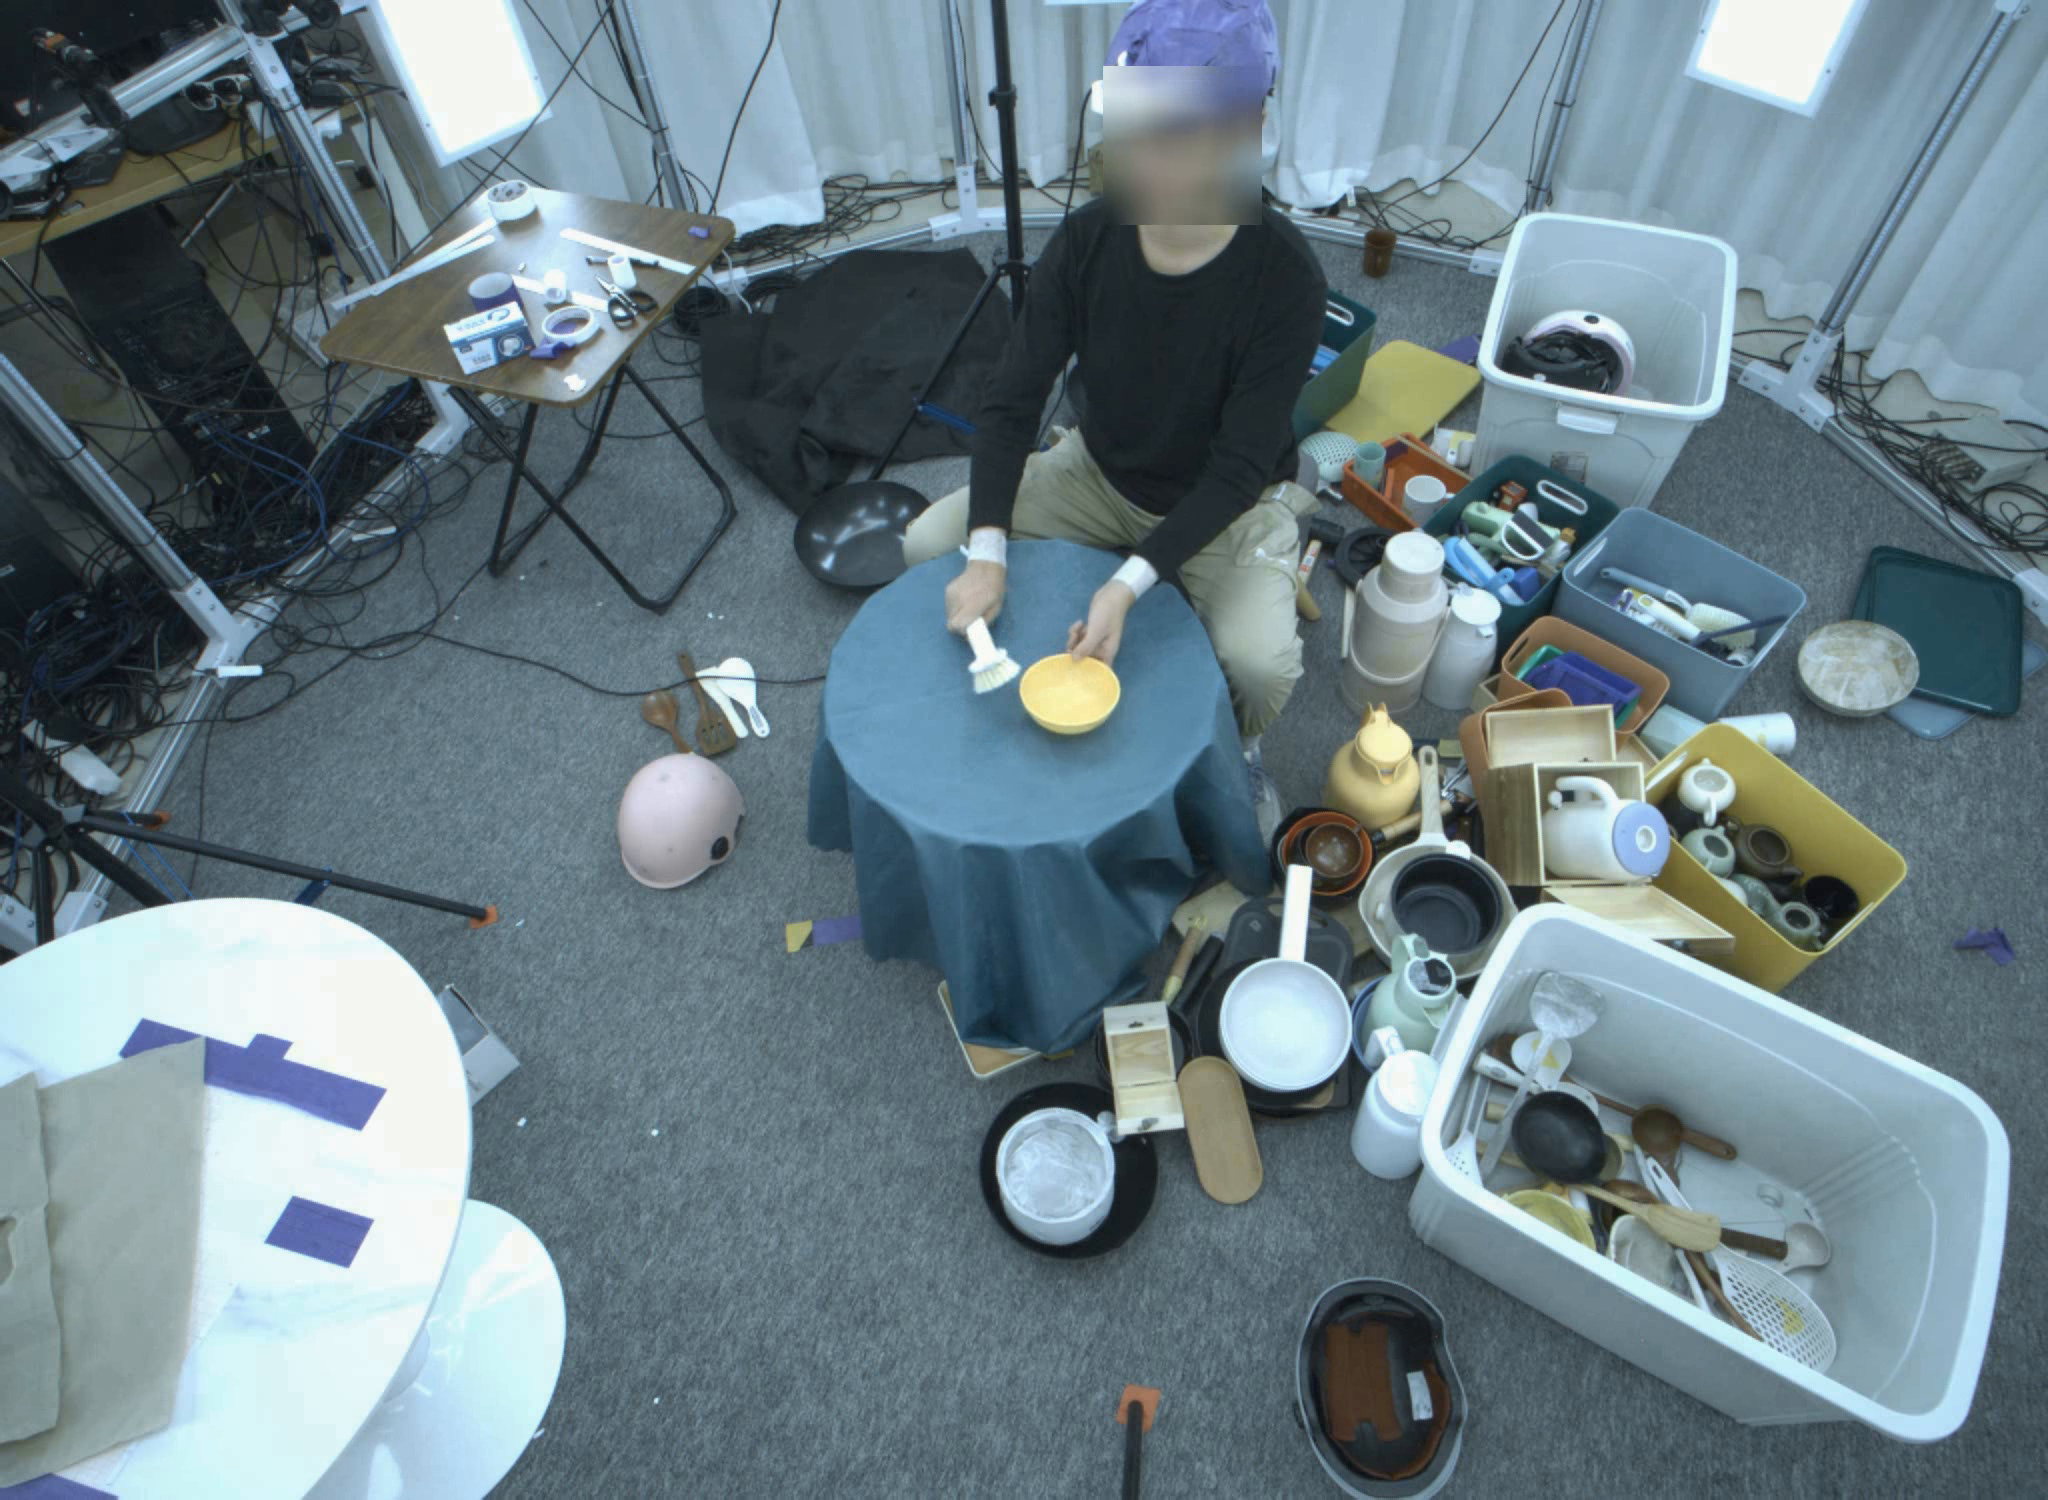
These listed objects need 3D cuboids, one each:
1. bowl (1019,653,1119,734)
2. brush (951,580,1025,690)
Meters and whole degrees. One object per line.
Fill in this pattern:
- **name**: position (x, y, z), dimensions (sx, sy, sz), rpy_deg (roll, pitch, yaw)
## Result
- **bowl**: position (0.064, -0.071, 1.795), dimensions (0.145, 0.060, 0.144), rpy_deg (2, 50, -1)
- **brush**: position (-0.062, -0.175, 1.851), dimensions (0.068, 0.057, 0.261), rpy_deg (-24, 39, -1)
